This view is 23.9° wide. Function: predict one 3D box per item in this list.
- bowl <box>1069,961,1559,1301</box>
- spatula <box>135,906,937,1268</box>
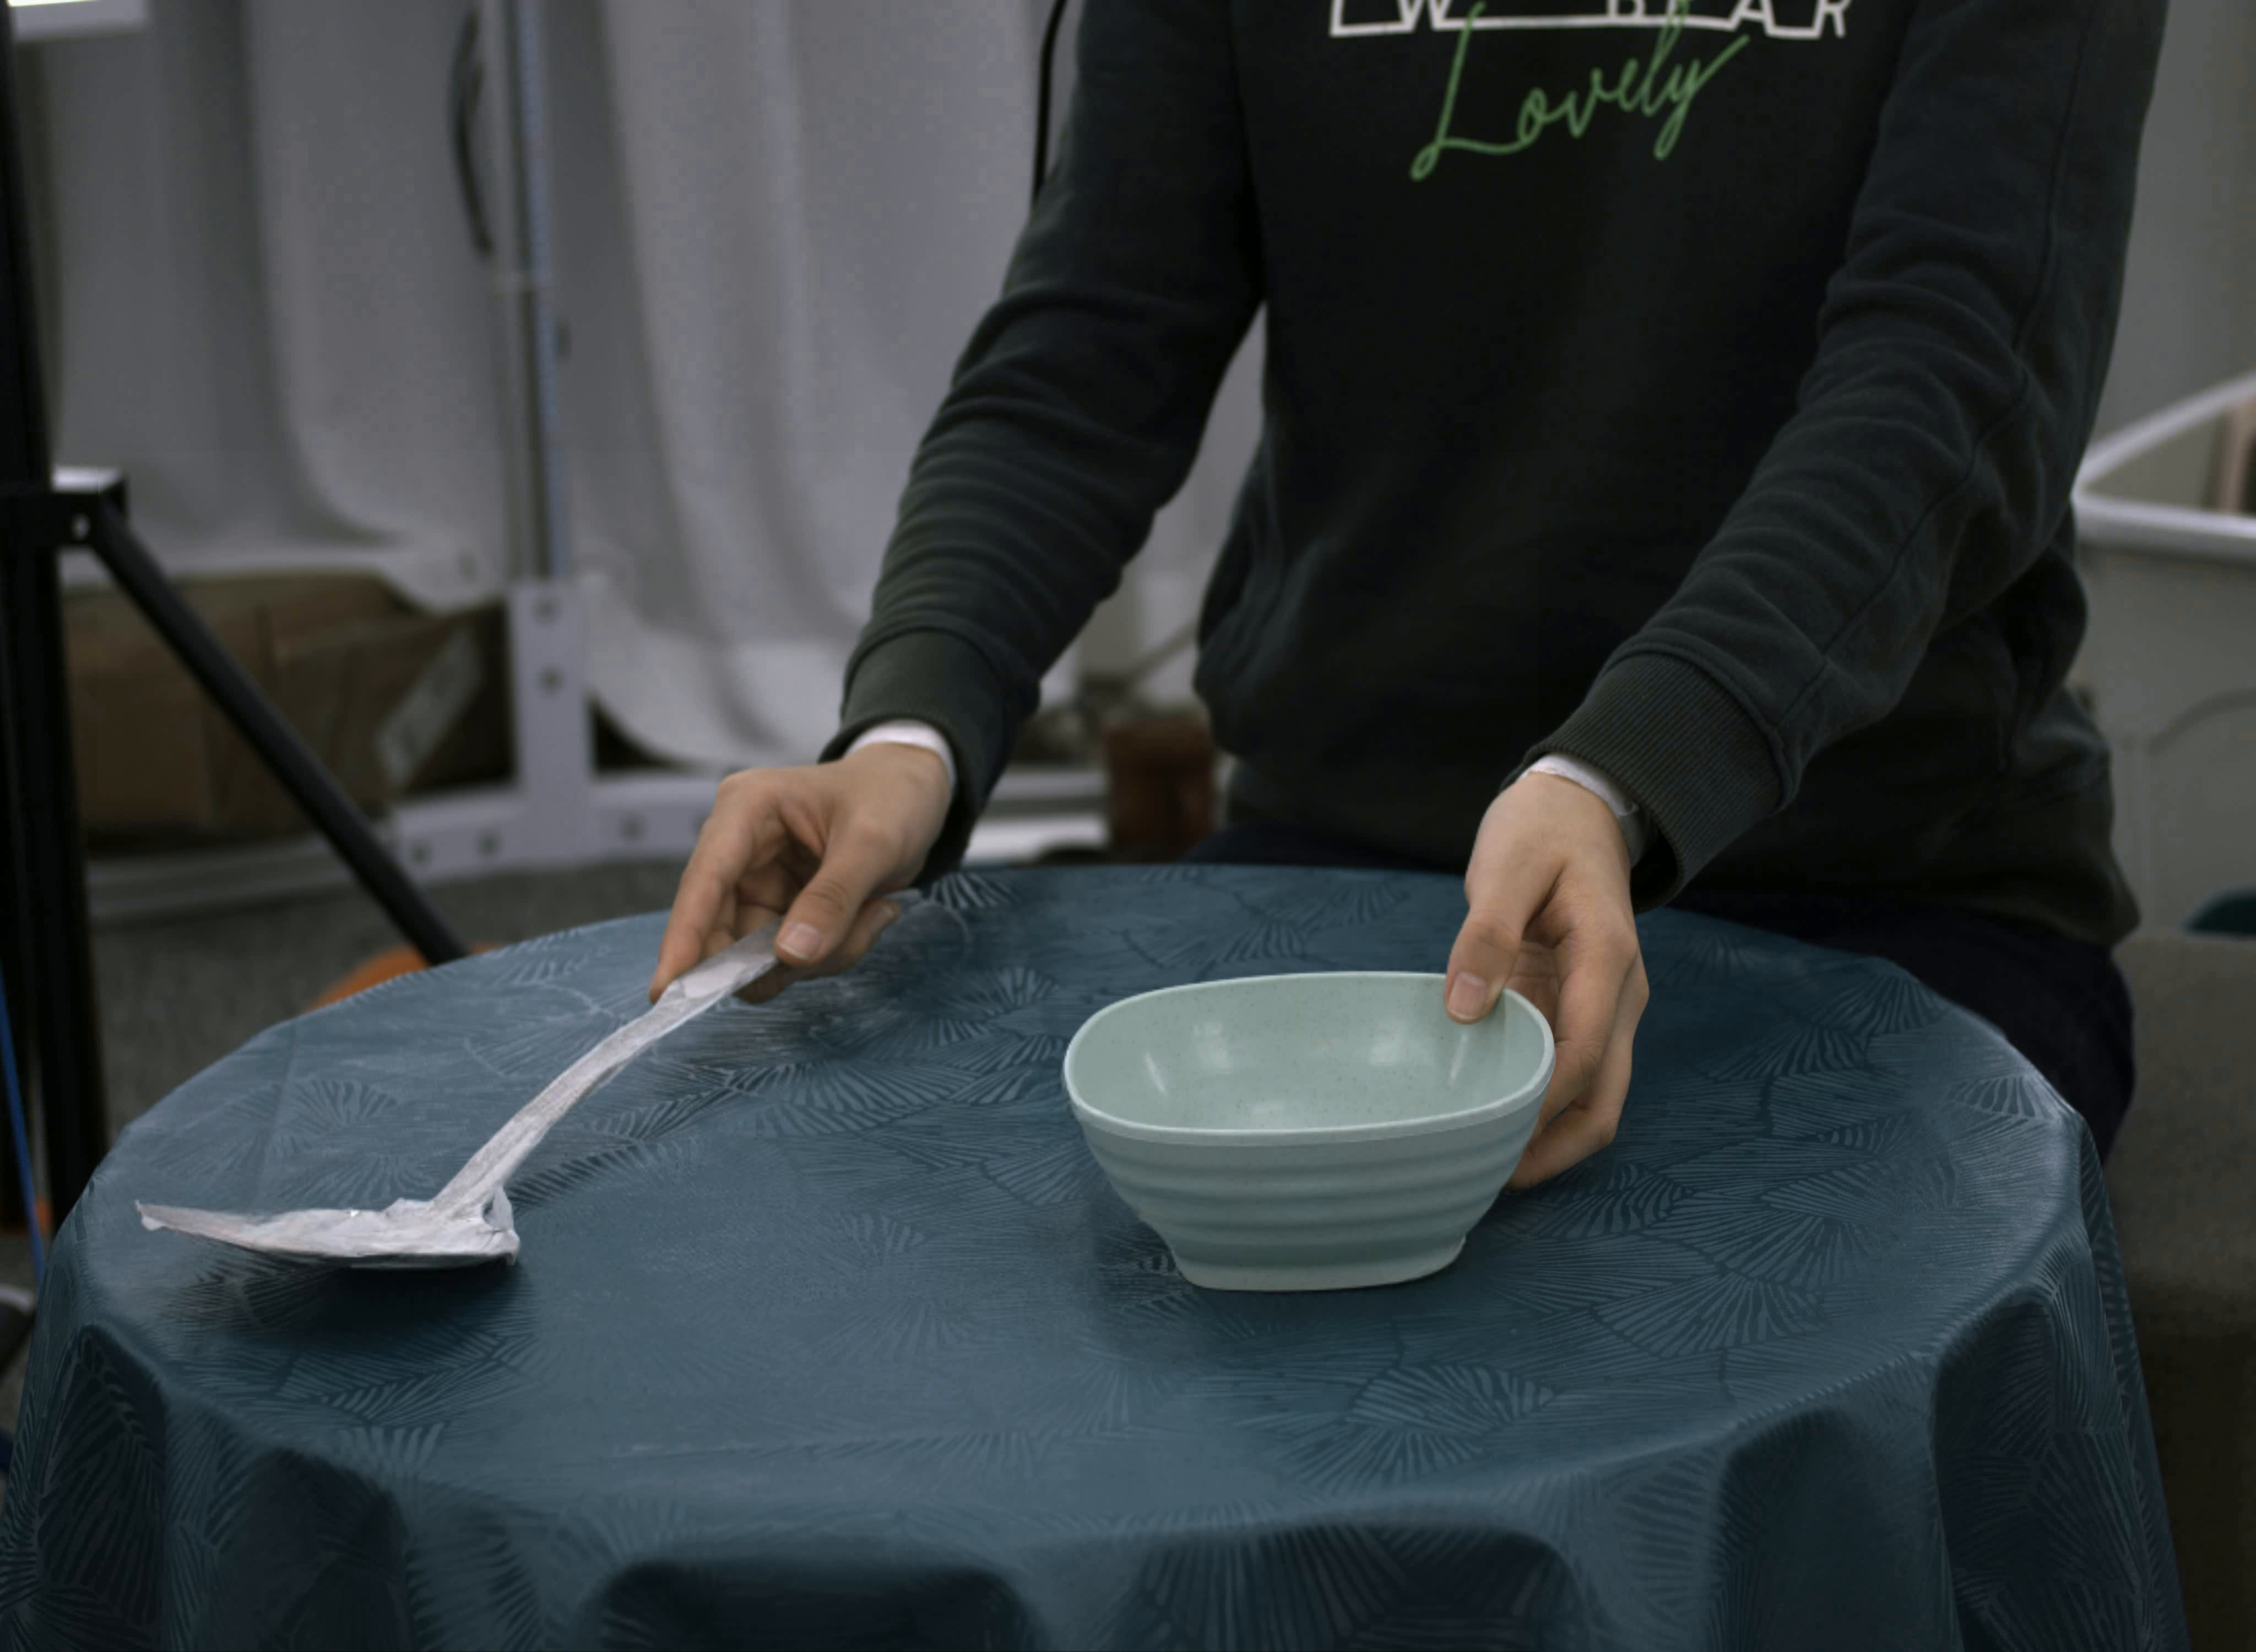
[{"bbox_3d":[0.054,0.091,1.504,0.151,0.058,0.152,-5,19,0],"label":"bowl"},{"bbox_3d":[-0.158,0.070,1.615,0.100,0.044,0.359,4,22,29],"label":"spatula"}]
